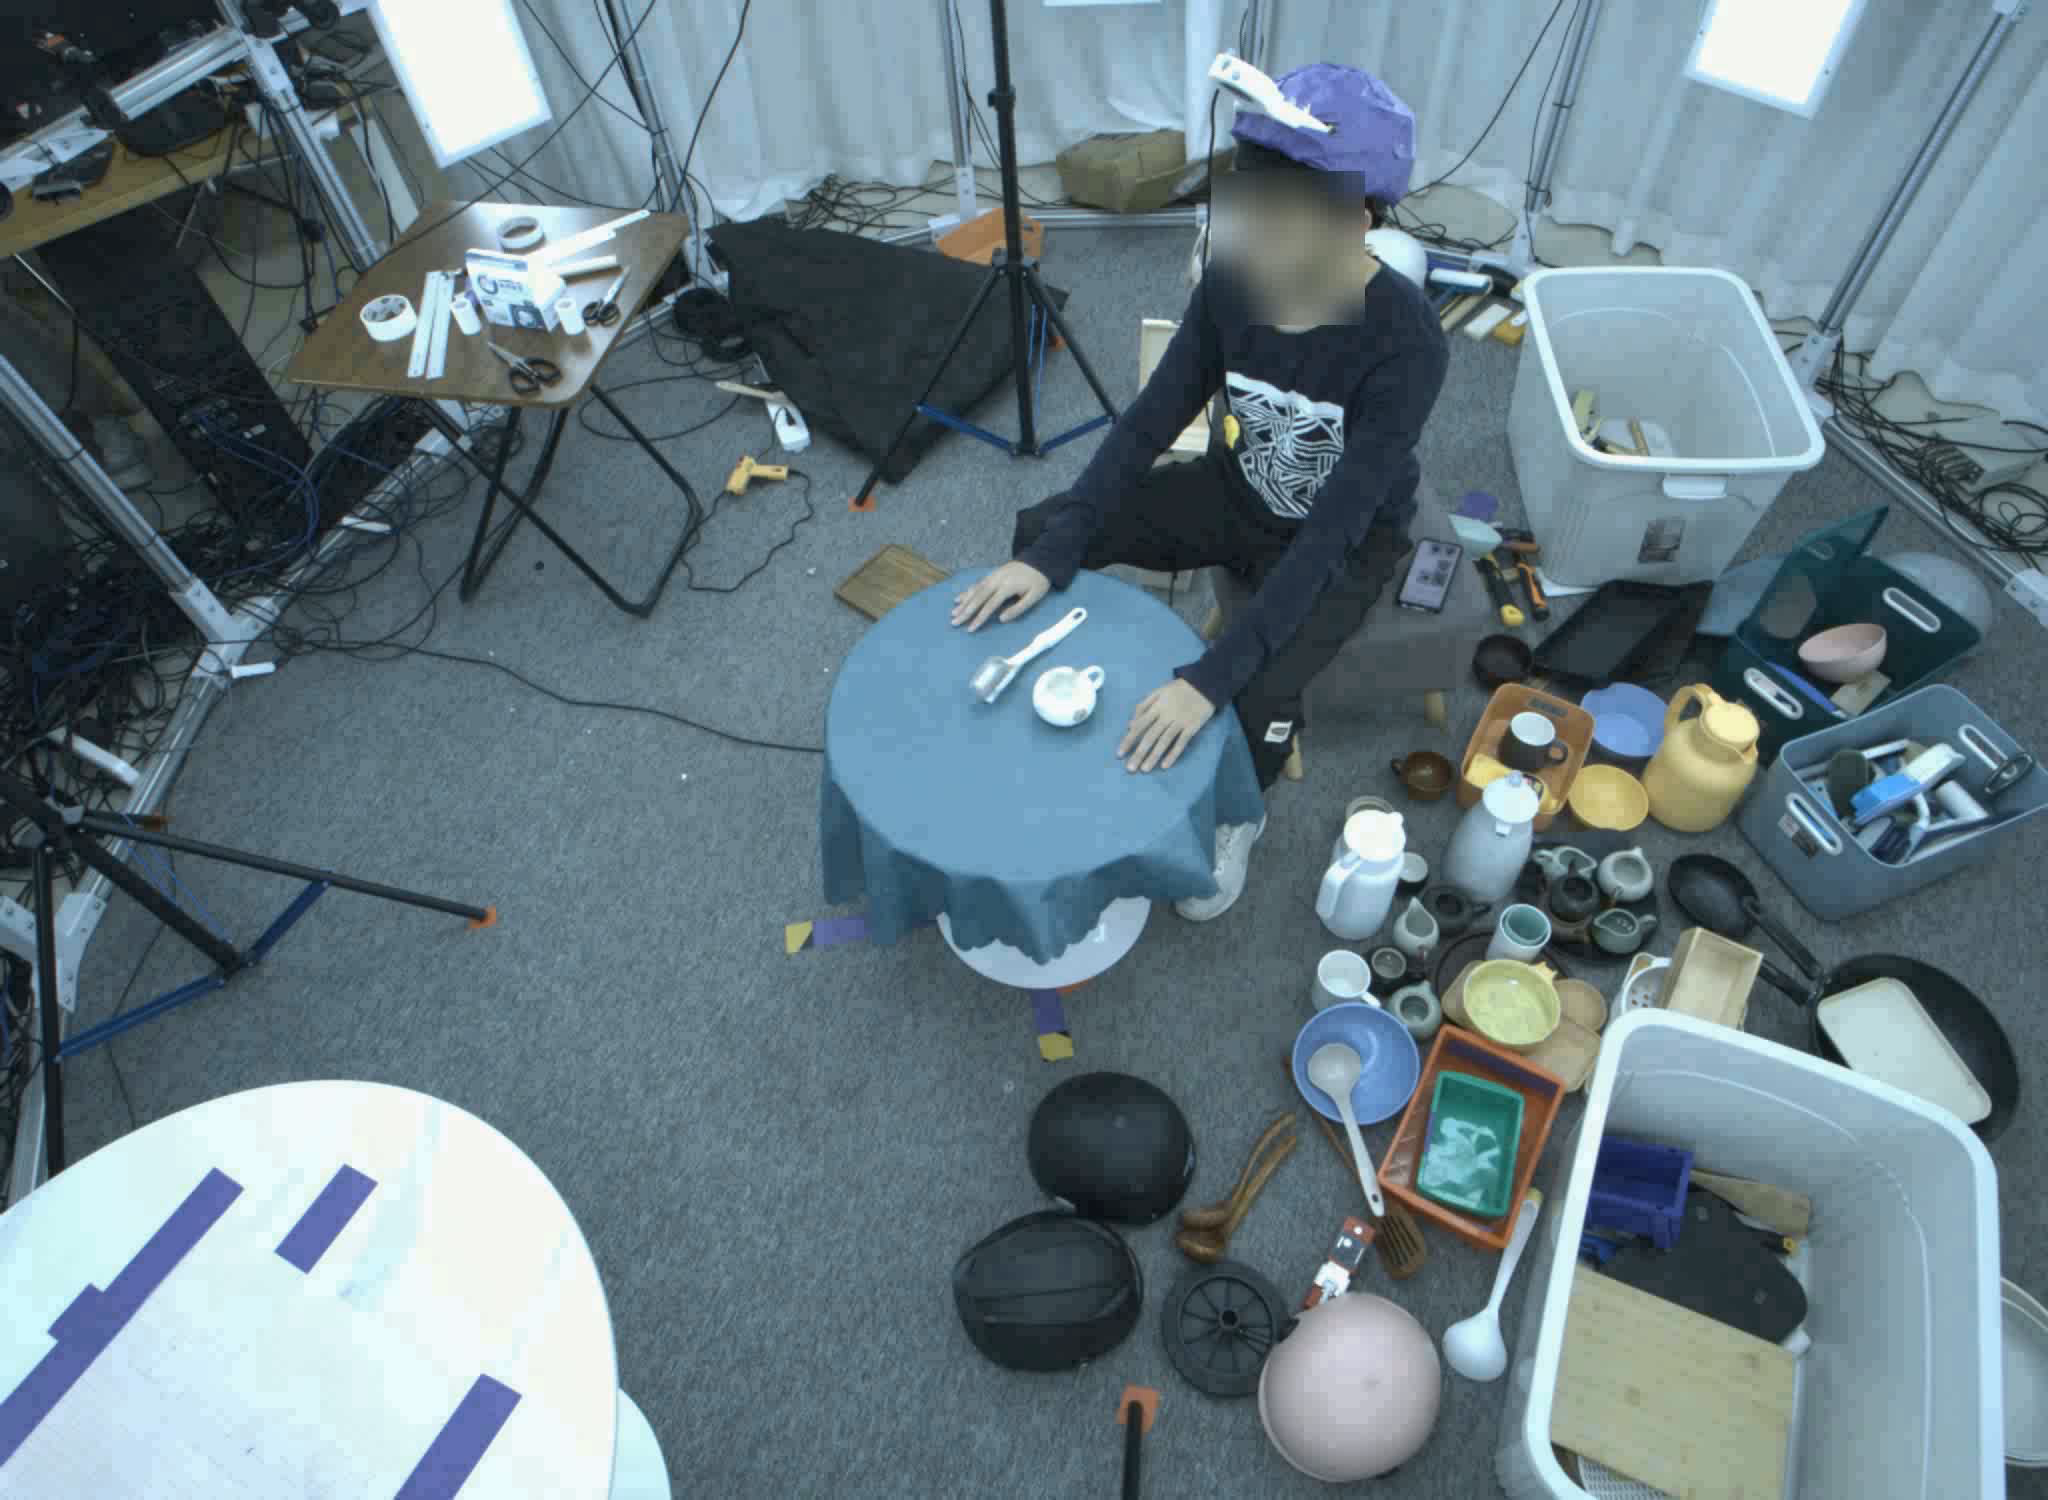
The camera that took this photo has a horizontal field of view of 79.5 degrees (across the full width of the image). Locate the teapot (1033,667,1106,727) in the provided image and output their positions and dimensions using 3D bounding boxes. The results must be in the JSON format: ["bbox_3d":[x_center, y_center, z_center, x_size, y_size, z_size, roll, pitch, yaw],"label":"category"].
[{"bbox_3d":[0.068,-0.082,1.804,0.128,0.057,0.091,-35,55,-23],"label":"teapot"}]

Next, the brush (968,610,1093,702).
[{"bbox_3d":[0.013,-0.155,1.861,0.245,0.051,0.034,-39,57,-23],"label":"brush"}]
